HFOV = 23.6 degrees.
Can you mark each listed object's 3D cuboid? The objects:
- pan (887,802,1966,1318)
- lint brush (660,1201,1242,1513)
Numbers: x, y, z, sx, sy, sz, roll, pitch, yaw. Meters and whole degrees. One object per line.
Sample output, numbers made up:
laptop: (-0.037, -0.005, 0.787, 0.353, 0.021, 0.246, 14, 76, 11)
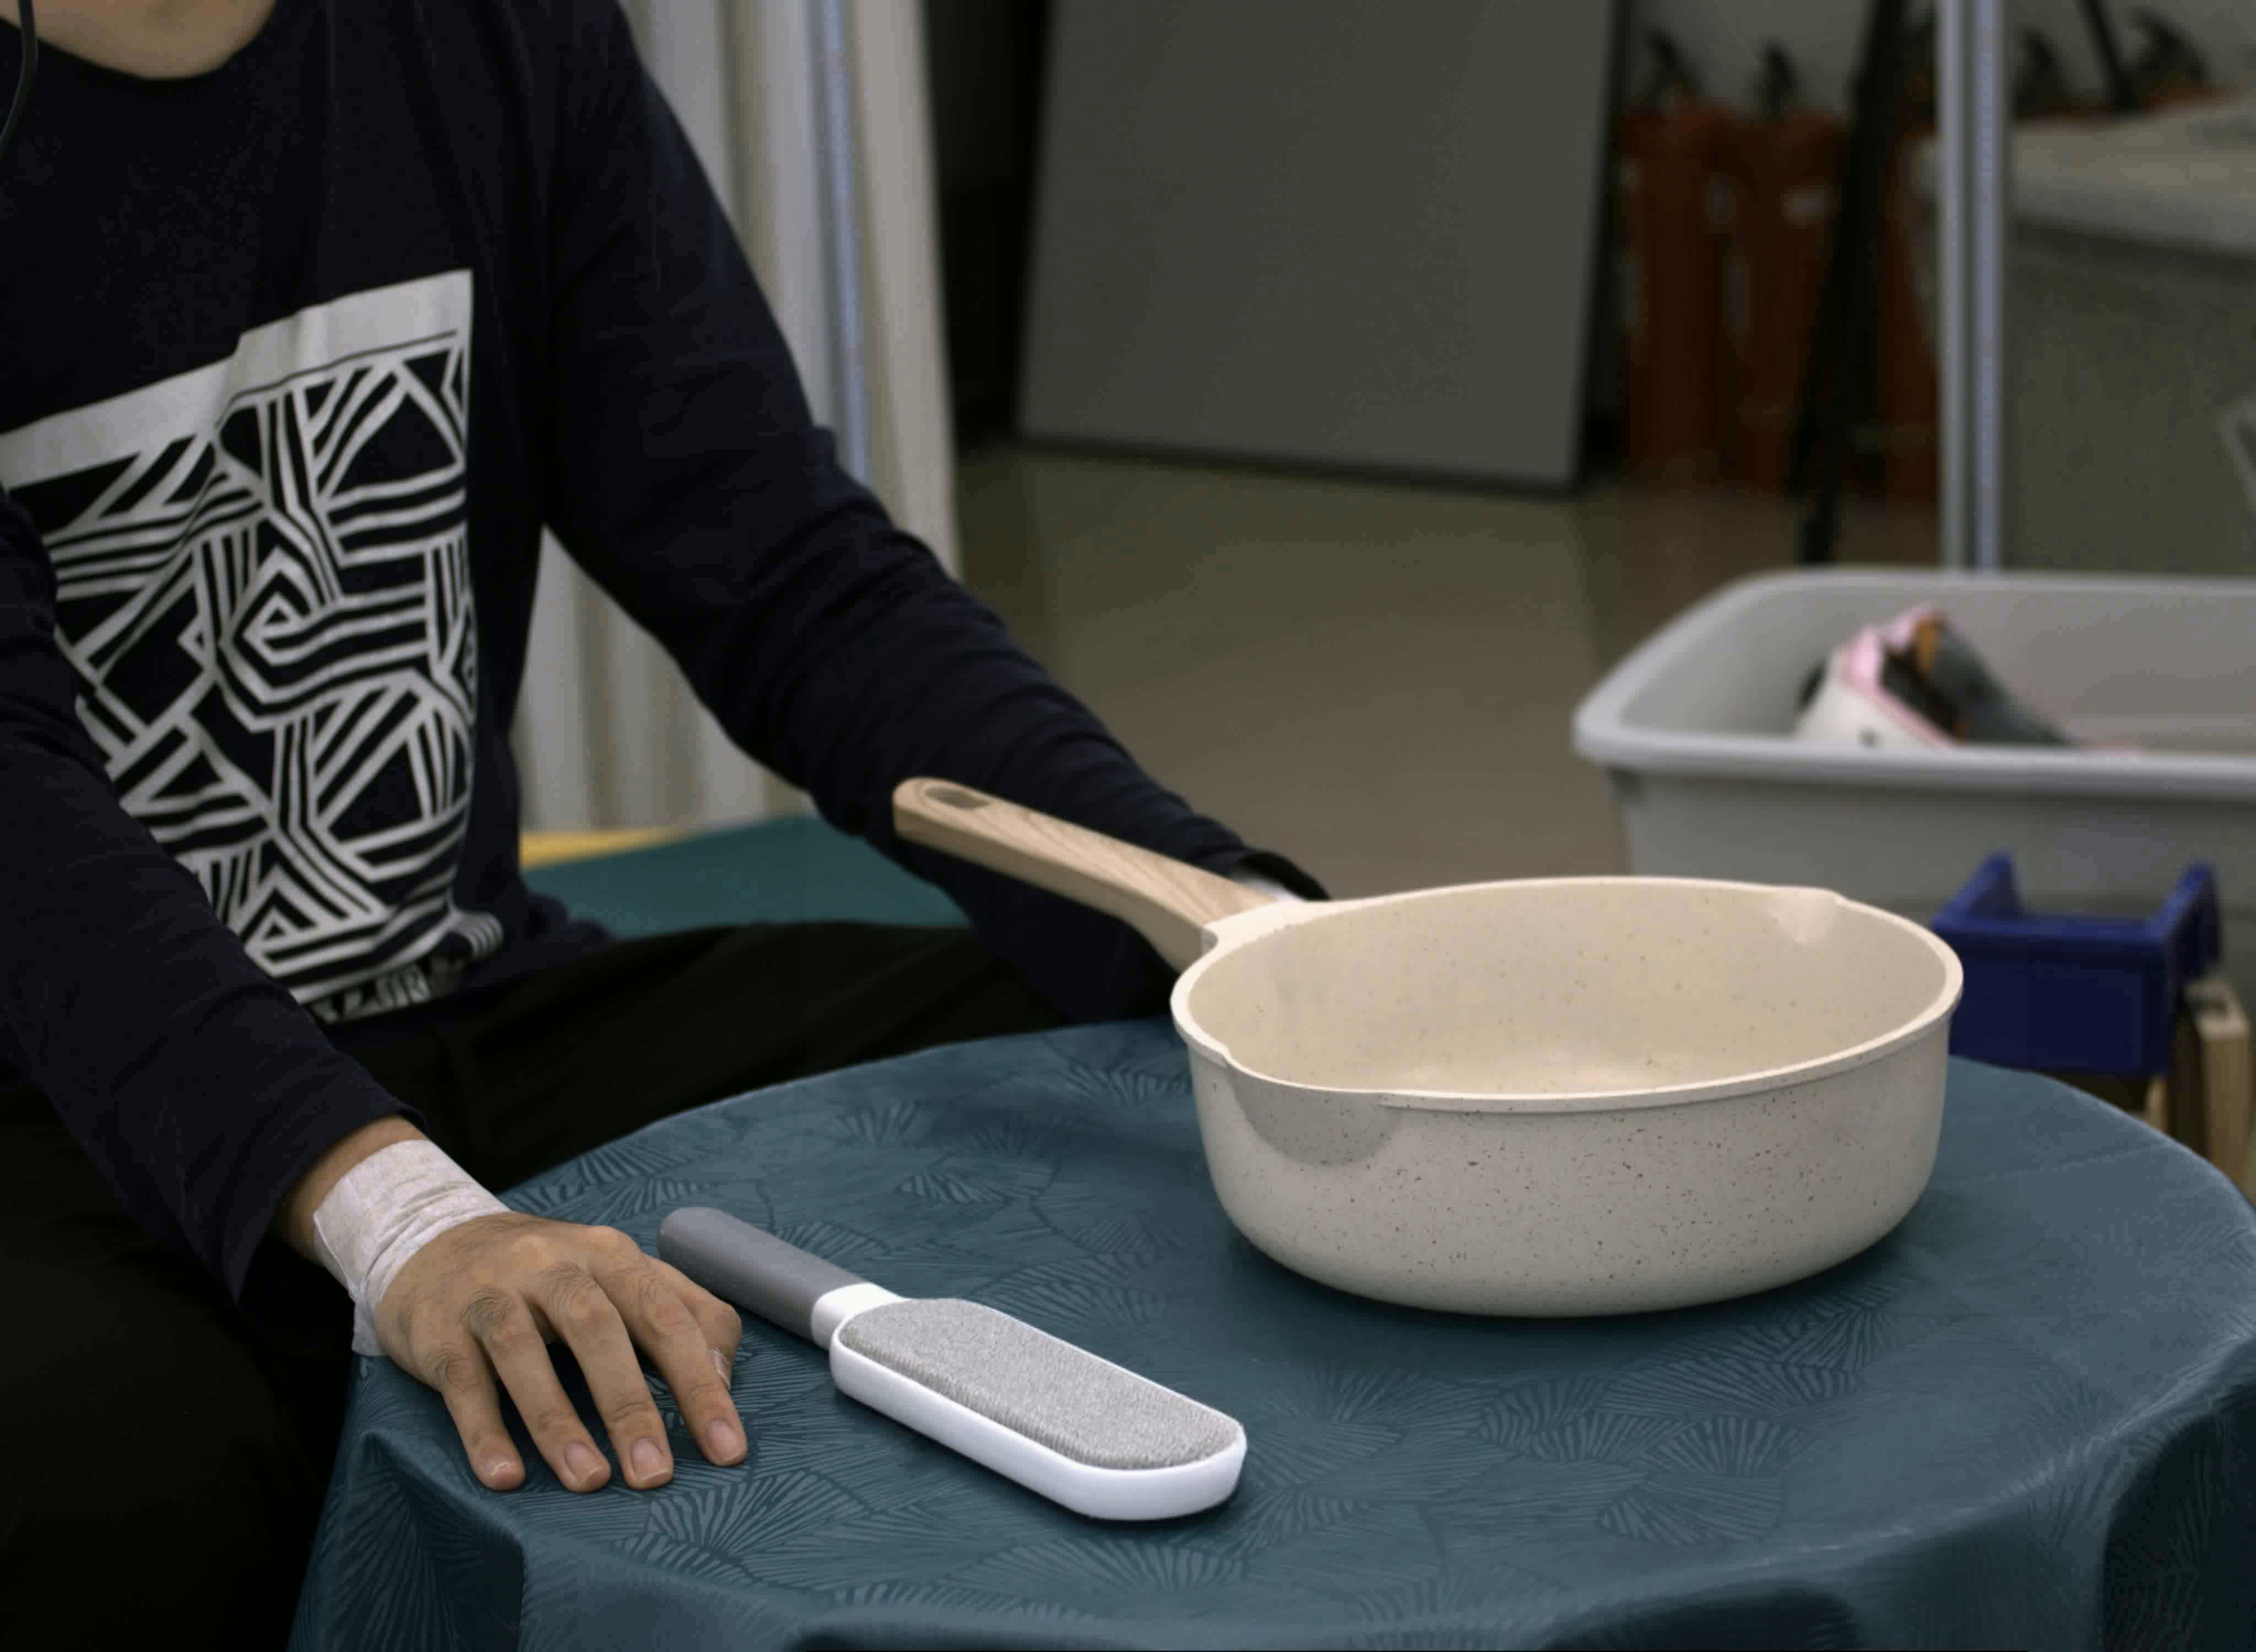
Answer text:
pan: (0.078, 0.067, 1.769, 0.258, 0.103, 0.439, -19, 20, -41)
lint brush: (-0.061, 0.153, 1.602, 0.059, 0.021, 0.312, -17, 18, -28)
